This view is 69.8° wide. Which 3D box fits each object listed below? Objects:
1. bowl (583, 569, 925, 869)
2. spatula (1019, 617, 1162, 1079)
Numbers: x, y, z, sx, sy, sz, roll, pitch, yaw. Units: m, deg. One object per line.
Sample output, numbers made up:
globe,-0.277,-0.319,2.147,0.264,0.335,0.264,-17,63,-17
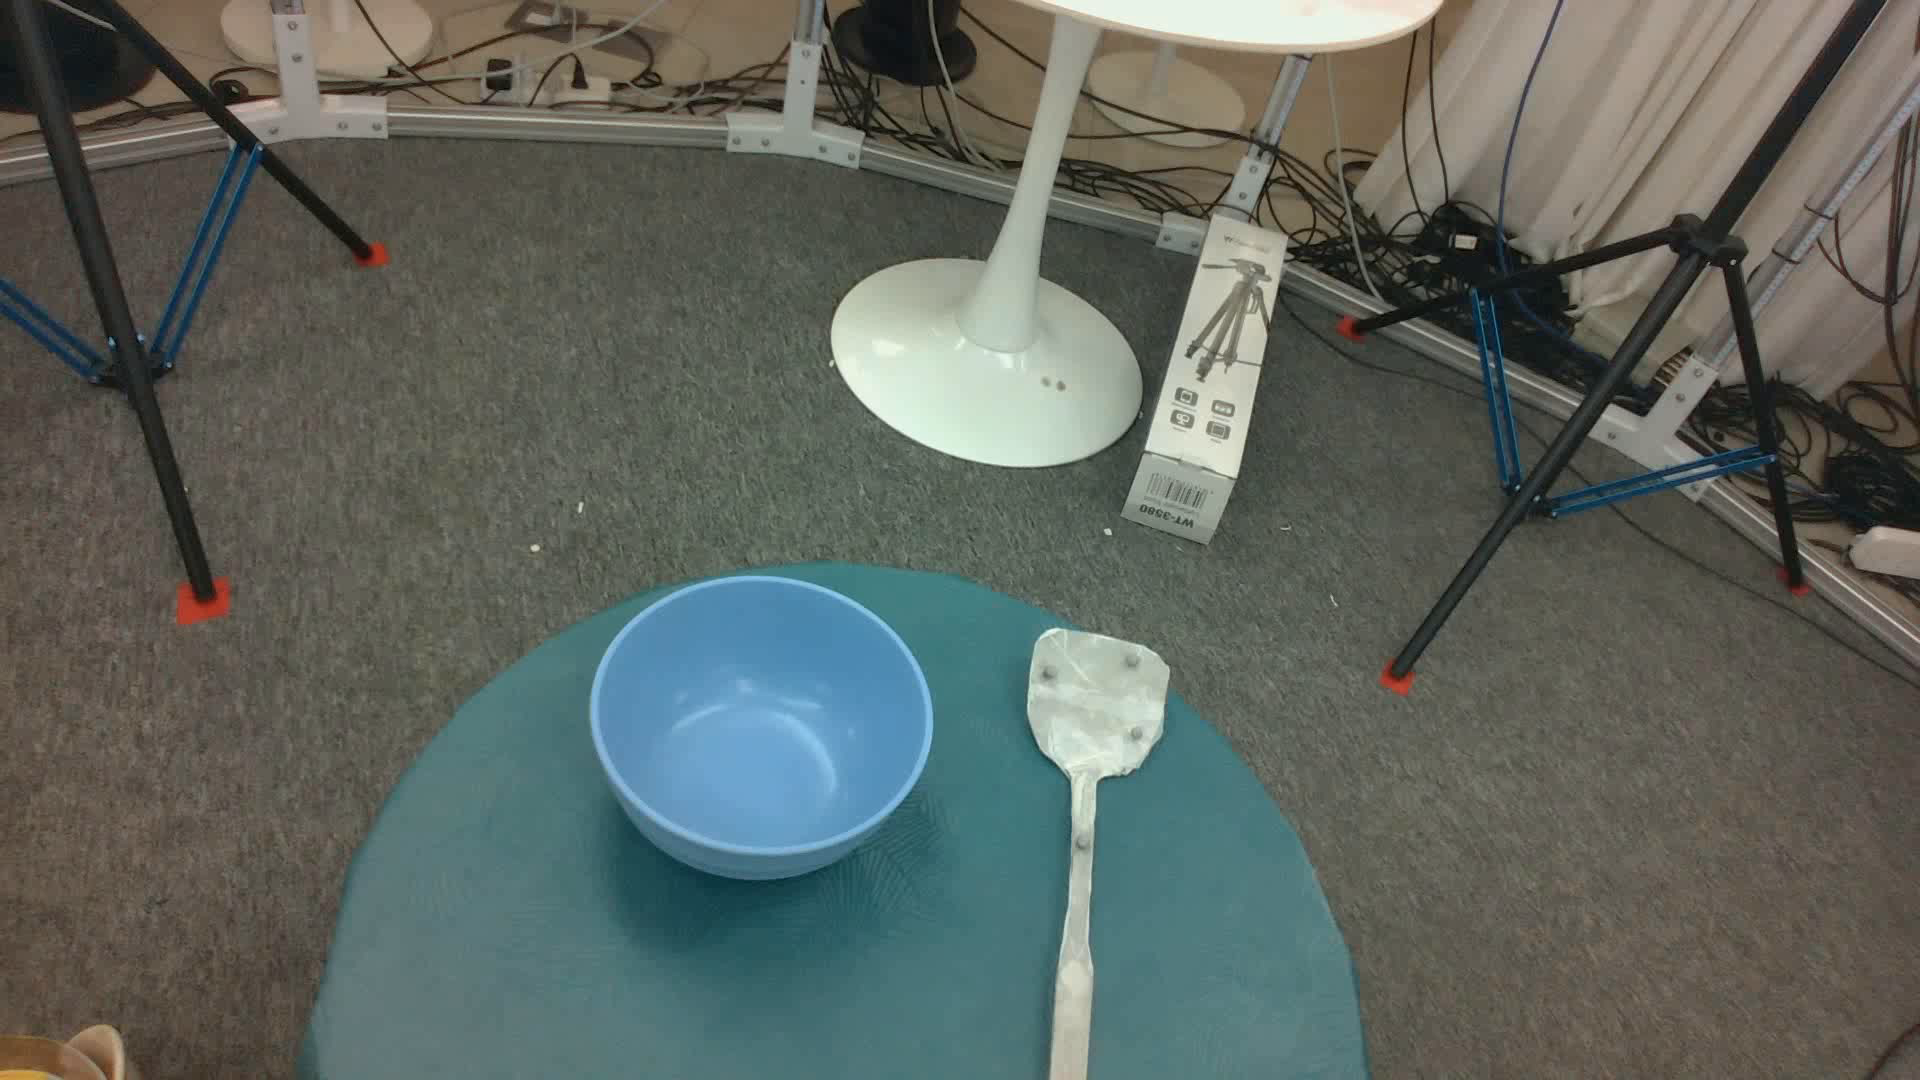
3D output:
bowl,-0.126,0.120,0.825,0.196,0.095,0.197,9,43,-9
spatula,0.068,0.199,0.848,0.099,0.044,0.367,16,45,-4
